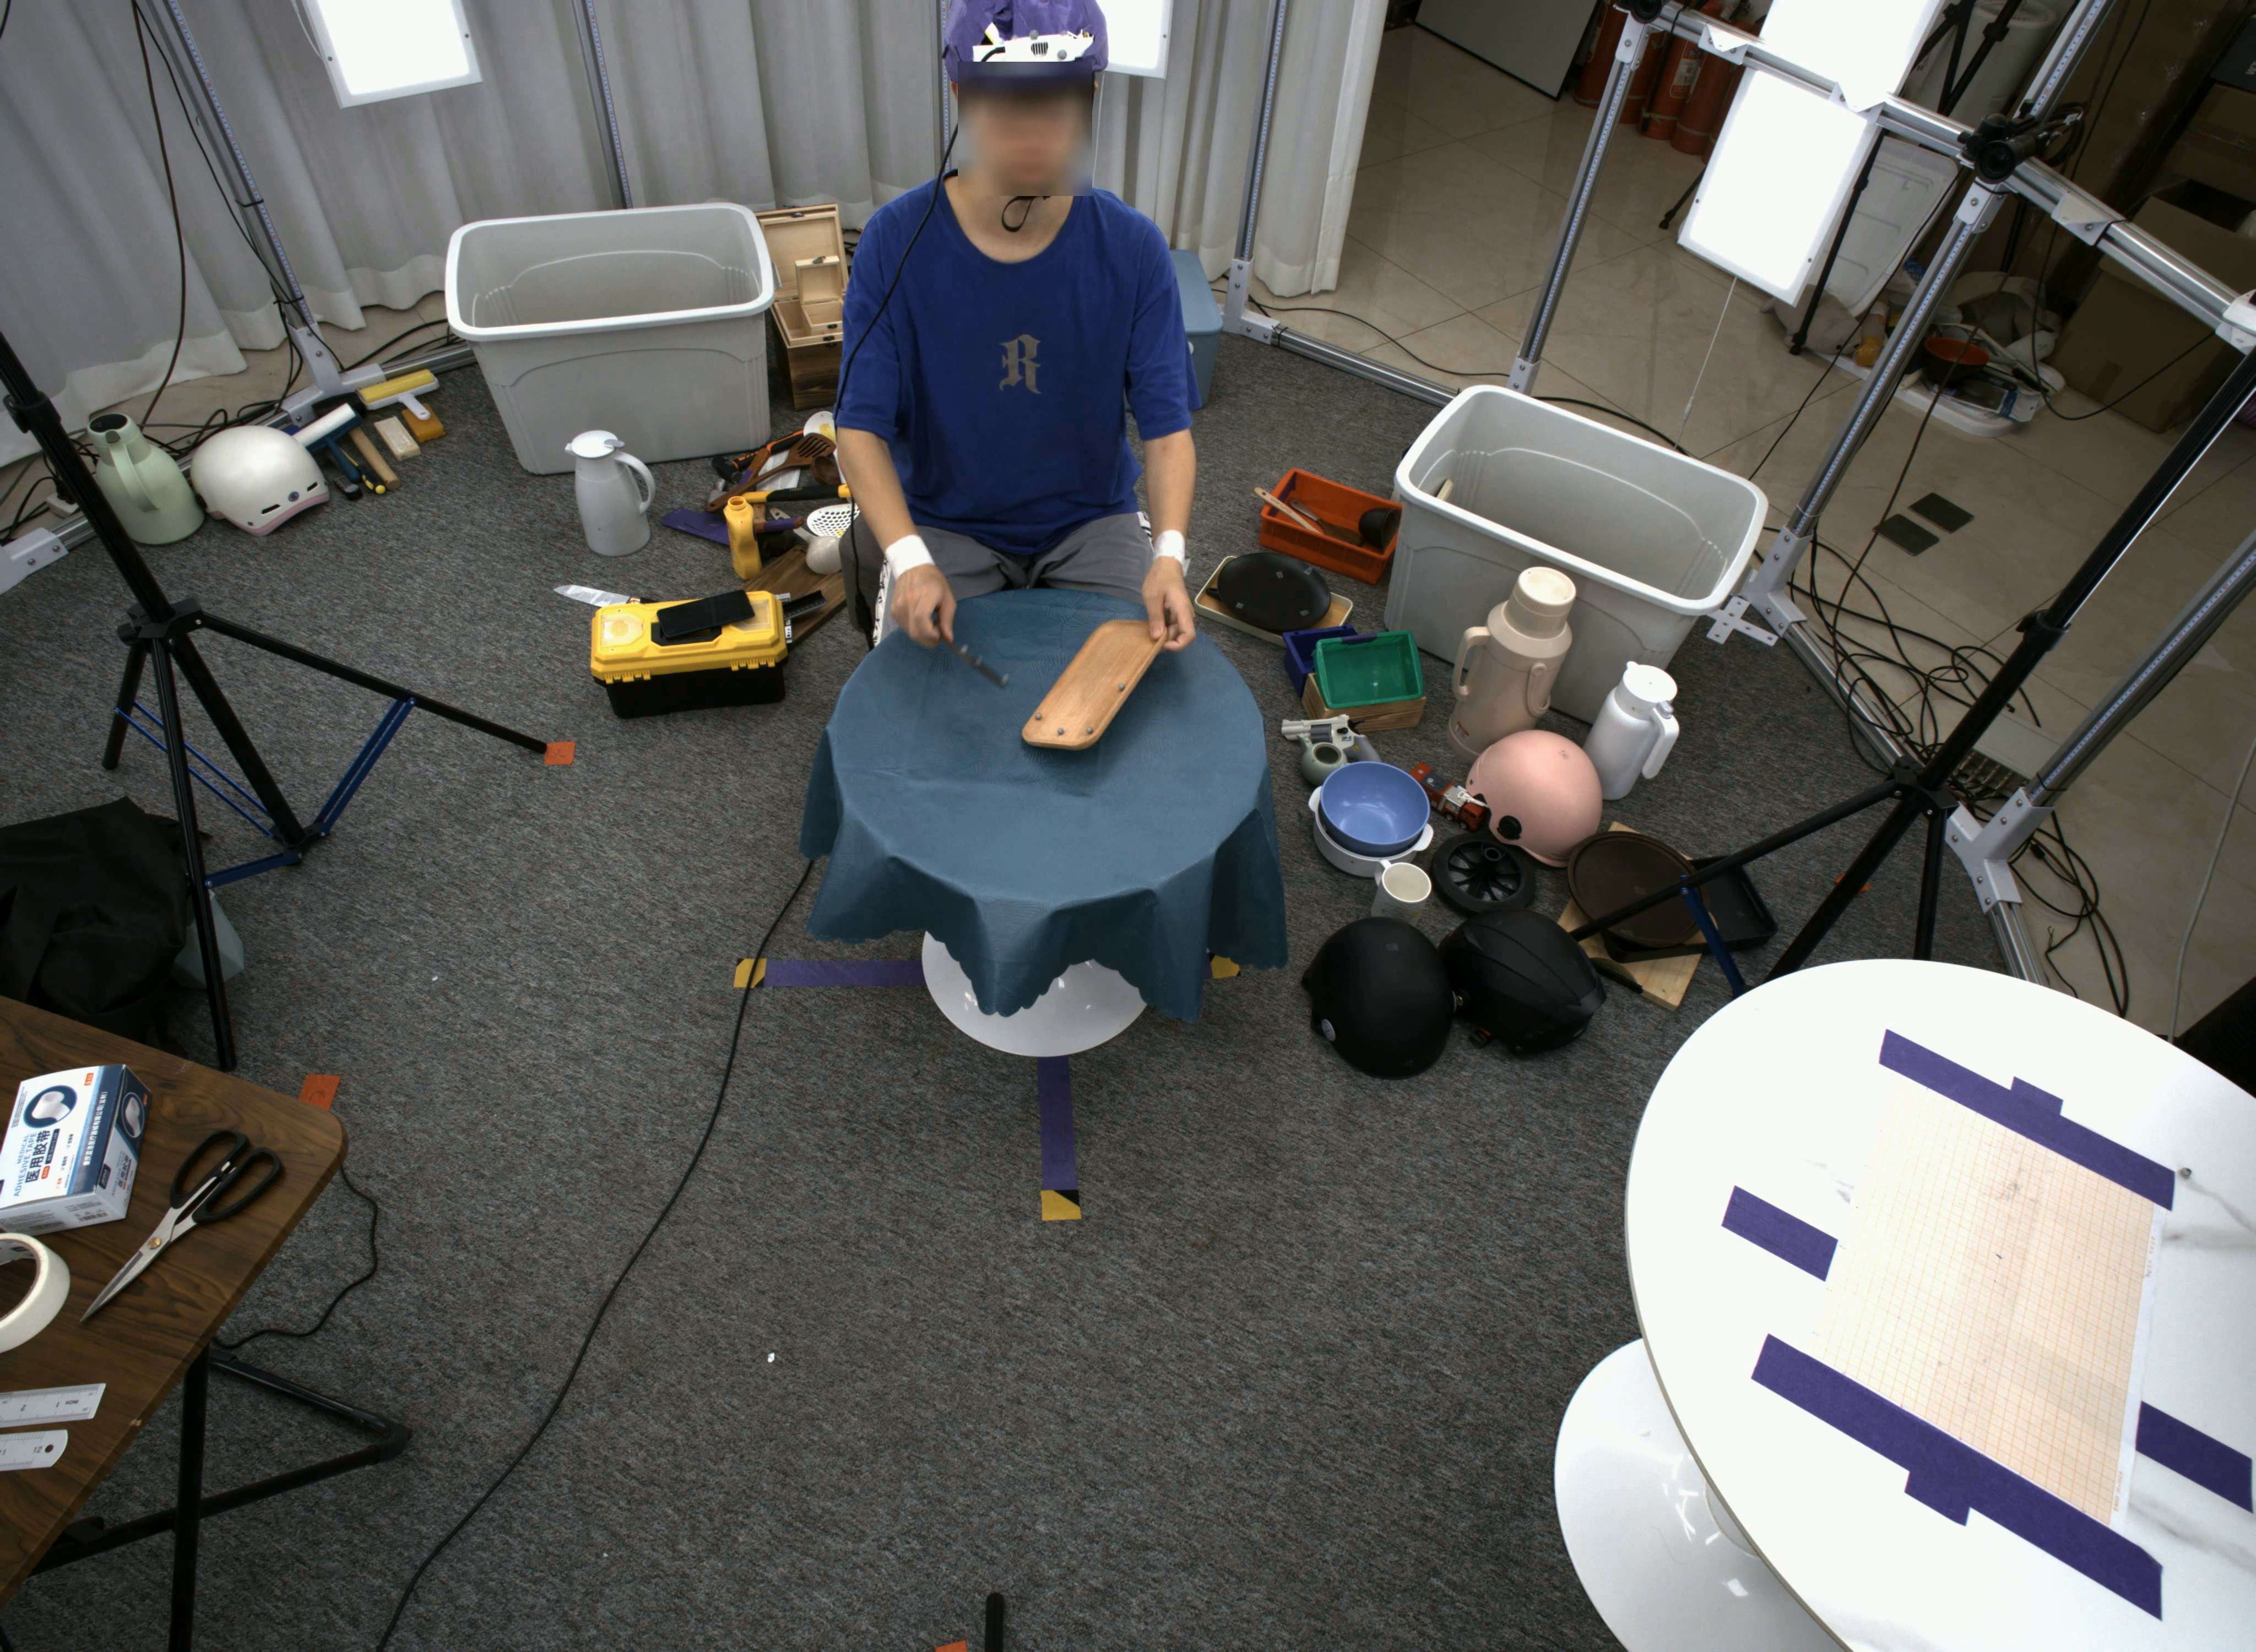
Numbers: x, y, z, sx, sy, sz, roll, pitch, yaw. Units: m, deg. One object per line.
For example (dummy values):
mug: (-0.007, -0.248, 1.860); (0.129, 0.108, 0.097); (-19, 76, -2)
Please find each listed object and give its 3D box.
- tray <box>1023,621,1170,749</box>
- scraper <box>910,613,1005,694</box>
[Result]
tray: (-0.041, -0.200, 1.788); (0.131, 0.022, 0.254); (10, 52, 36)
scraper: (-0.241, -0.240, 1.756); (0.011, 0.074, 0.215); (-51, 50, 5)
